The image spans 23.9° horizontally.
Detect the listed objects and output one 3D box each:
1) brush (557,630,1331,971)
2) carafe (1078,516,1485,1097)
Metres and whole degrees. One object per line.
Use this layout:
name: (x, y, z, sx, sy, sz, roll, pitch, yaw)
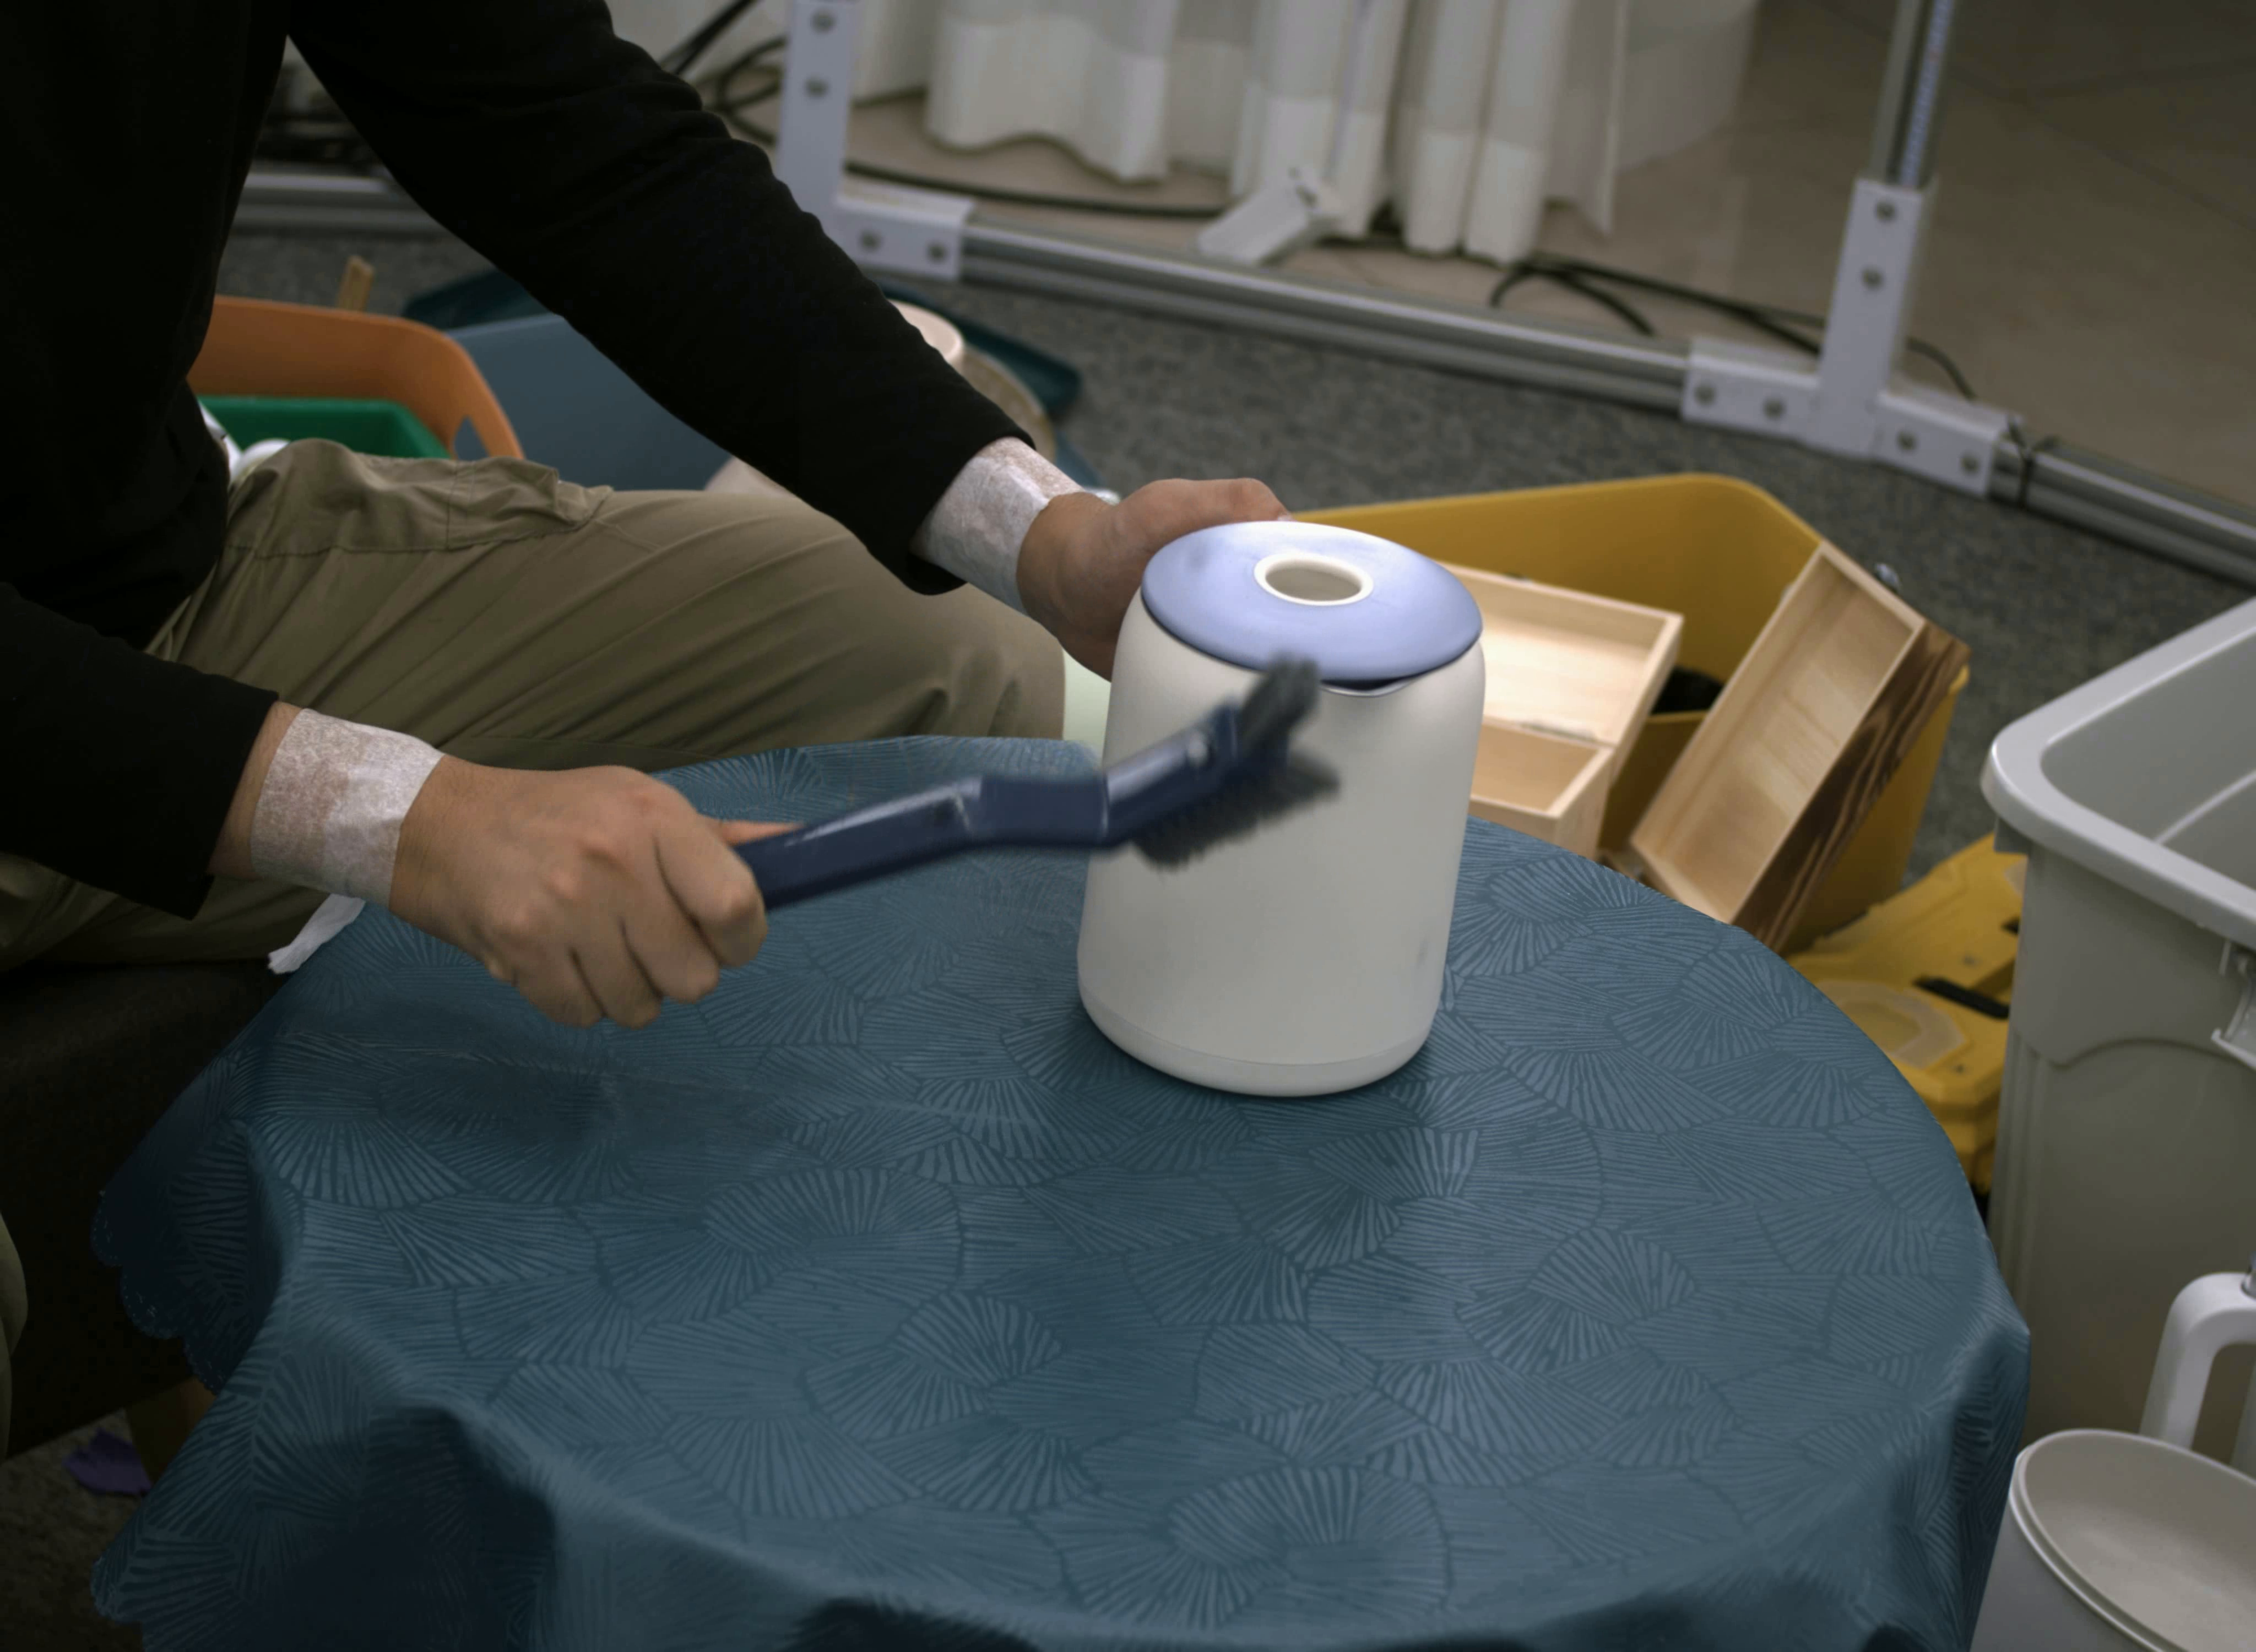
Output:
brush: (-0.068, -0.008, 1.748, 0.273, 0.095, 0.034, -12, 57, 10)
carafe: (0.047, -0.019, 1.903, 0.131, 0.182, 0.193, -2, 27, -18)
